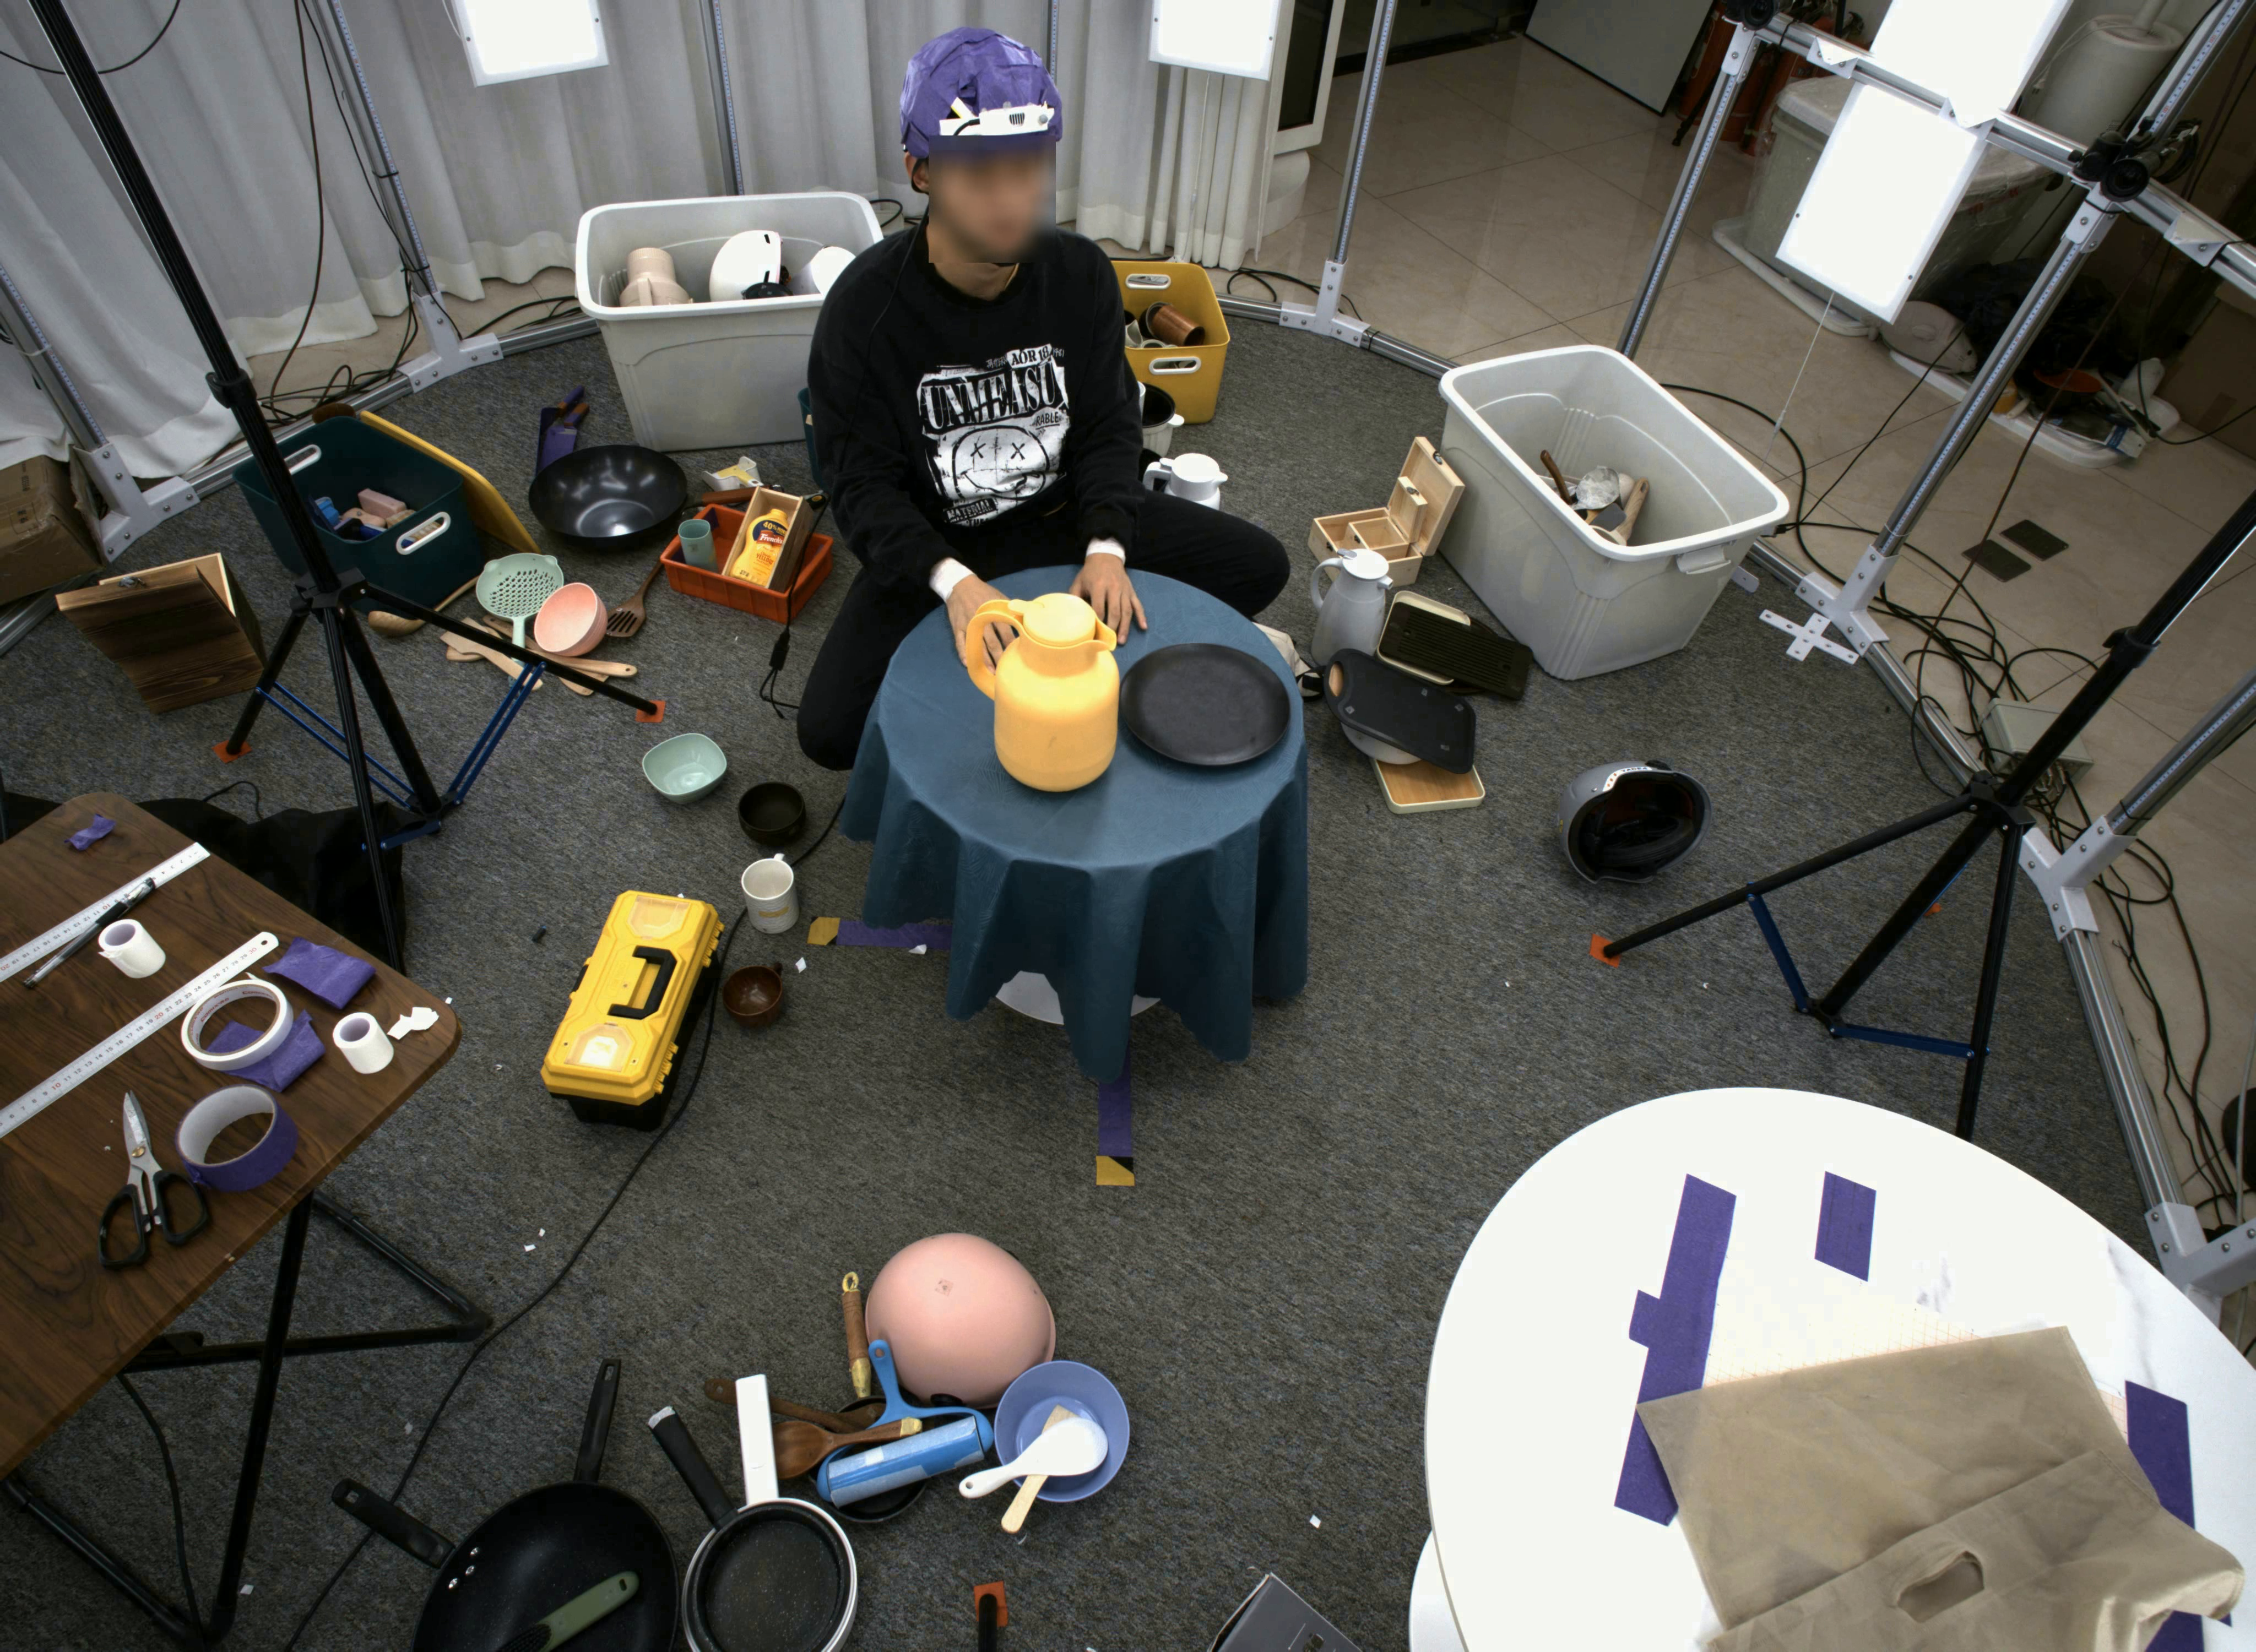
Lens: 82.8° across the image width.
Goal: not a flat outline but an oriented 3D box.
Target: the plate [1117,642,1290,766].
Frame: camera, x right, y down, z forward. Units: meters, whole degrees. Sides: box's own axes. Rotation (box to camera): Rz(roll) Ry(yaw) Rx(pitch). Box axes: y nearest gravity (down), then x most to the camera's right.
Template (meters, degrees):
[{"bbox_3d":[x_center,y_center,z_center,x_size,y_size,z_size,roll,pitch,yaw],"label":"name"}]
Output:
[{"bbox_3d":[0.106,-0.169,1.807,0.244,0.023,0.250,2,49,-2],"label":"plate"}]

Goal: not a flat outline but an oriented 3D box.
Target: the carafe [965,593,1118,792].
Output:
[{"bbox_3d":[-0.111,-0.184,1.652,0.203,0.254,0.166,20,48,11],"label":"carafe"}]
